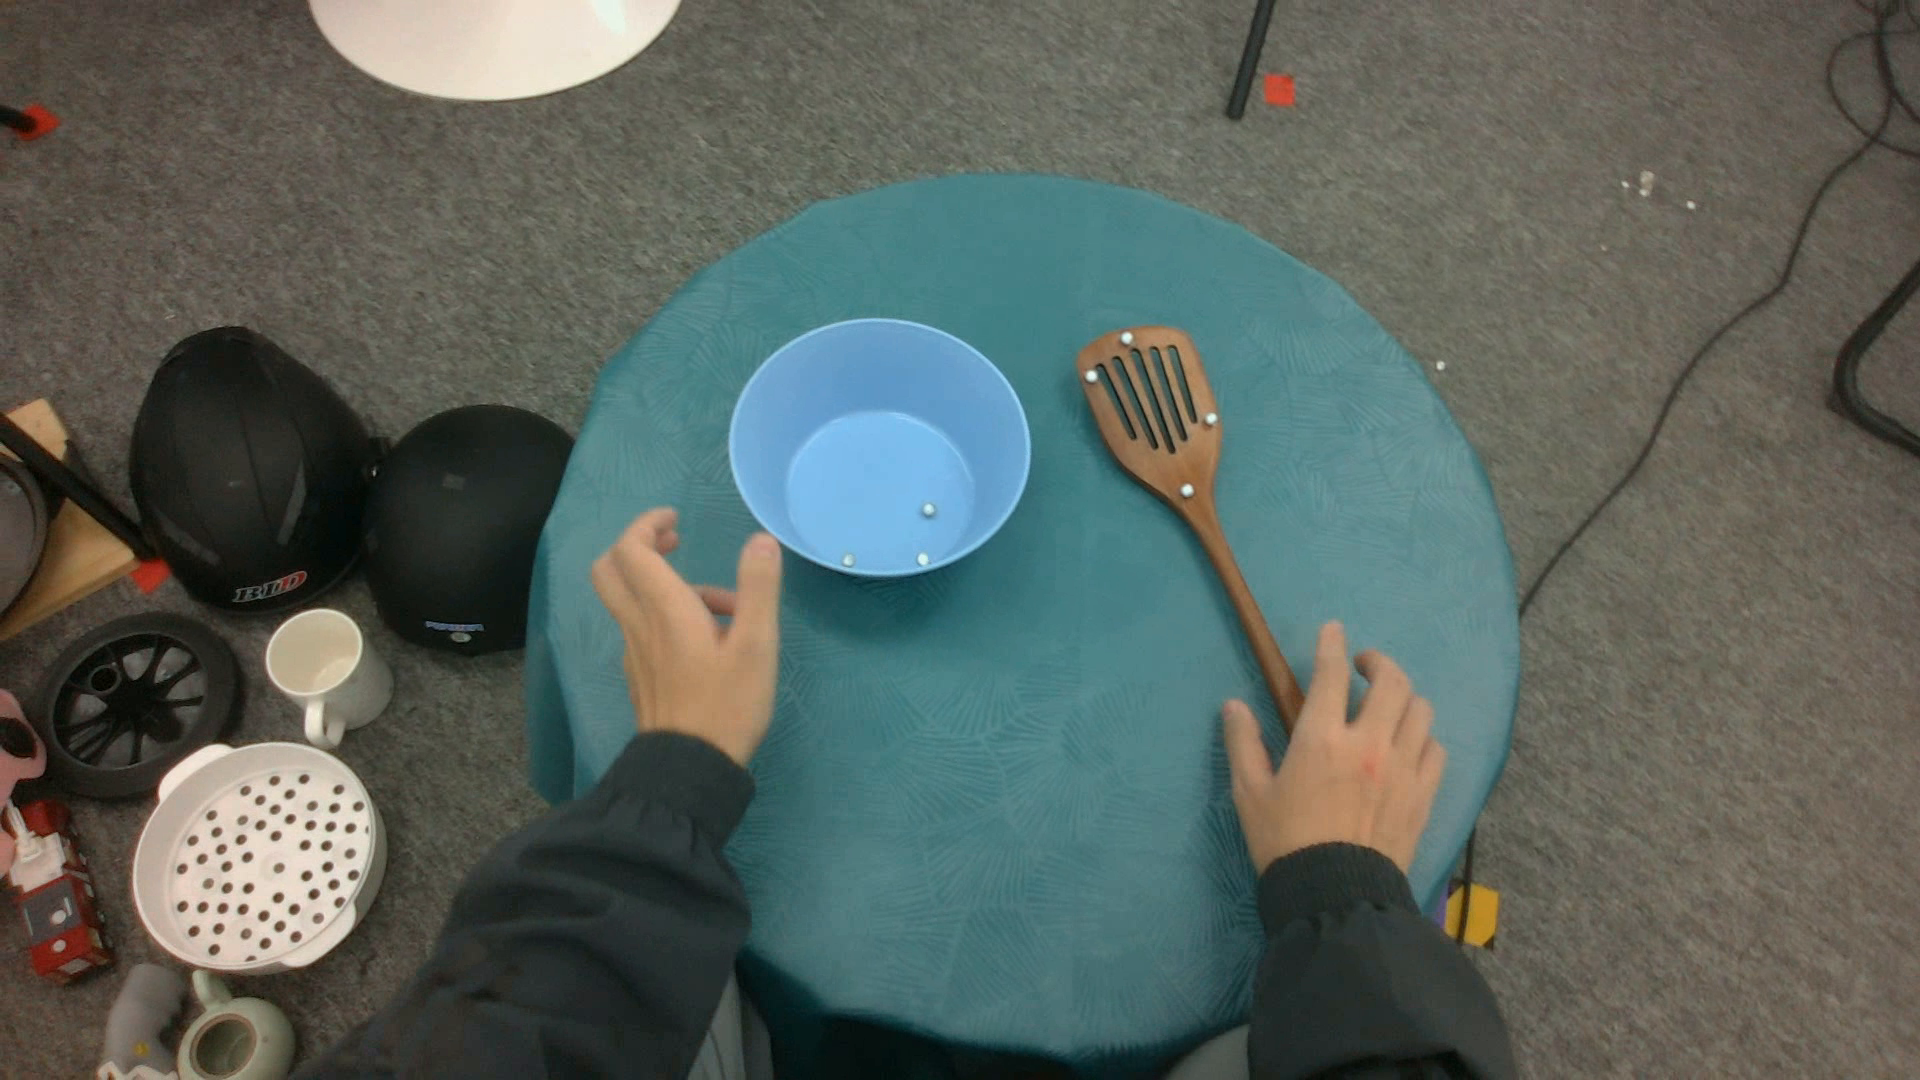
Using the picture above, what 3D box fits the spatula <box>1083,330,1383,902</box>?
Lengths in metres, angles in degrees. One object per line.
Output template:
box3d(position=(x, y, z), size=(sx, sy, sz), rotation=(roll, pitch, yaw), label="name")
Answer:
box3d(position=(0.172, 0.034, 0.847), size=(0.085, 0.024, 0.388), rotation=(-14, 65, -11), label="spatula")

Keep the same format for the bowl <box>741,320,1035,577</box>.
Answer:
box3d(position=(-0.044, -0.045, 0.845), size=(0.176, 0.070, 0.177), rotation=(2, 63, -3), label="bowl")
